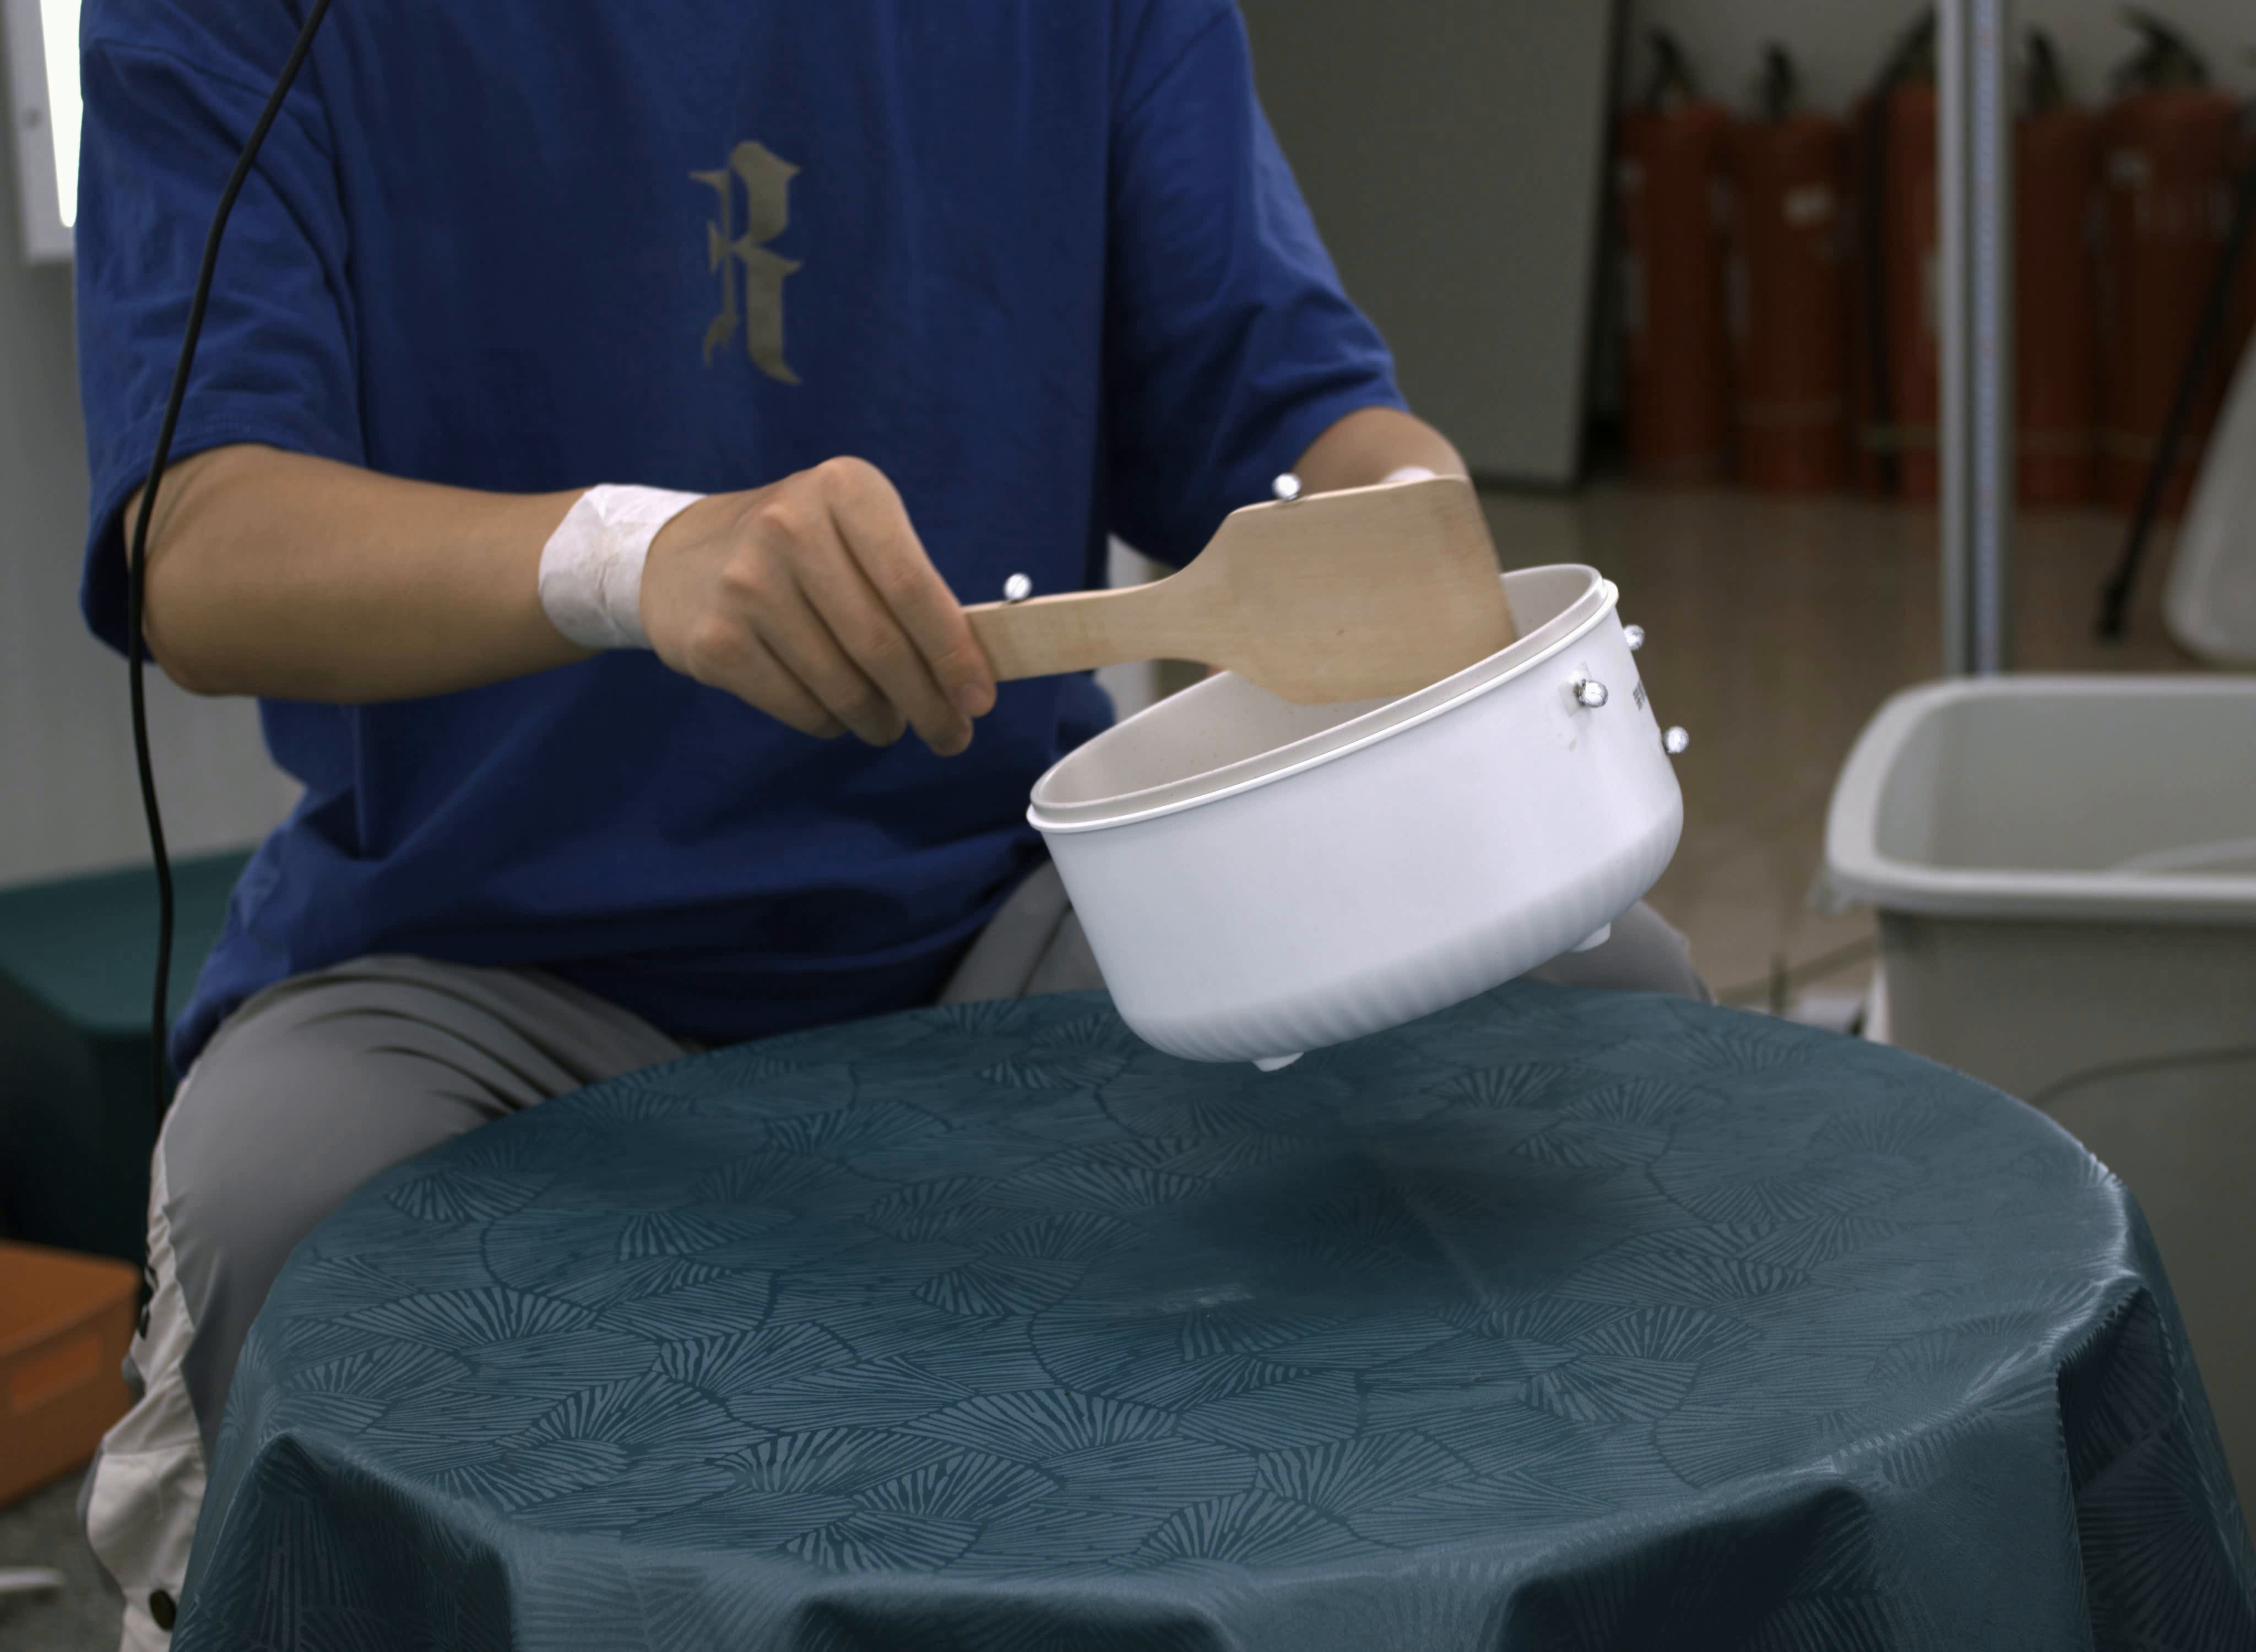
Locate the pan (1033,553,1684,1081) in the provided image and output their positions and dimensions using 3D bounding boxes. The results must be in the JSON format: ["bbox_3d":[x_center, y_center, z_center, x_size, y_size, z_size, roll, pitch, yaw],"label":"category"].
[{"bbox_3d":[0.077,-0.012,1.784,0.200,0.103,0.355,-24,9,4],"label":"pan"}]

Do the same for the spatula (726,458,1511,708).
[{"bbox_3d":[-0.011,-0.067,1.740,0.294,0.072,0.010,-7,23,33],"label":"spatula"}]
